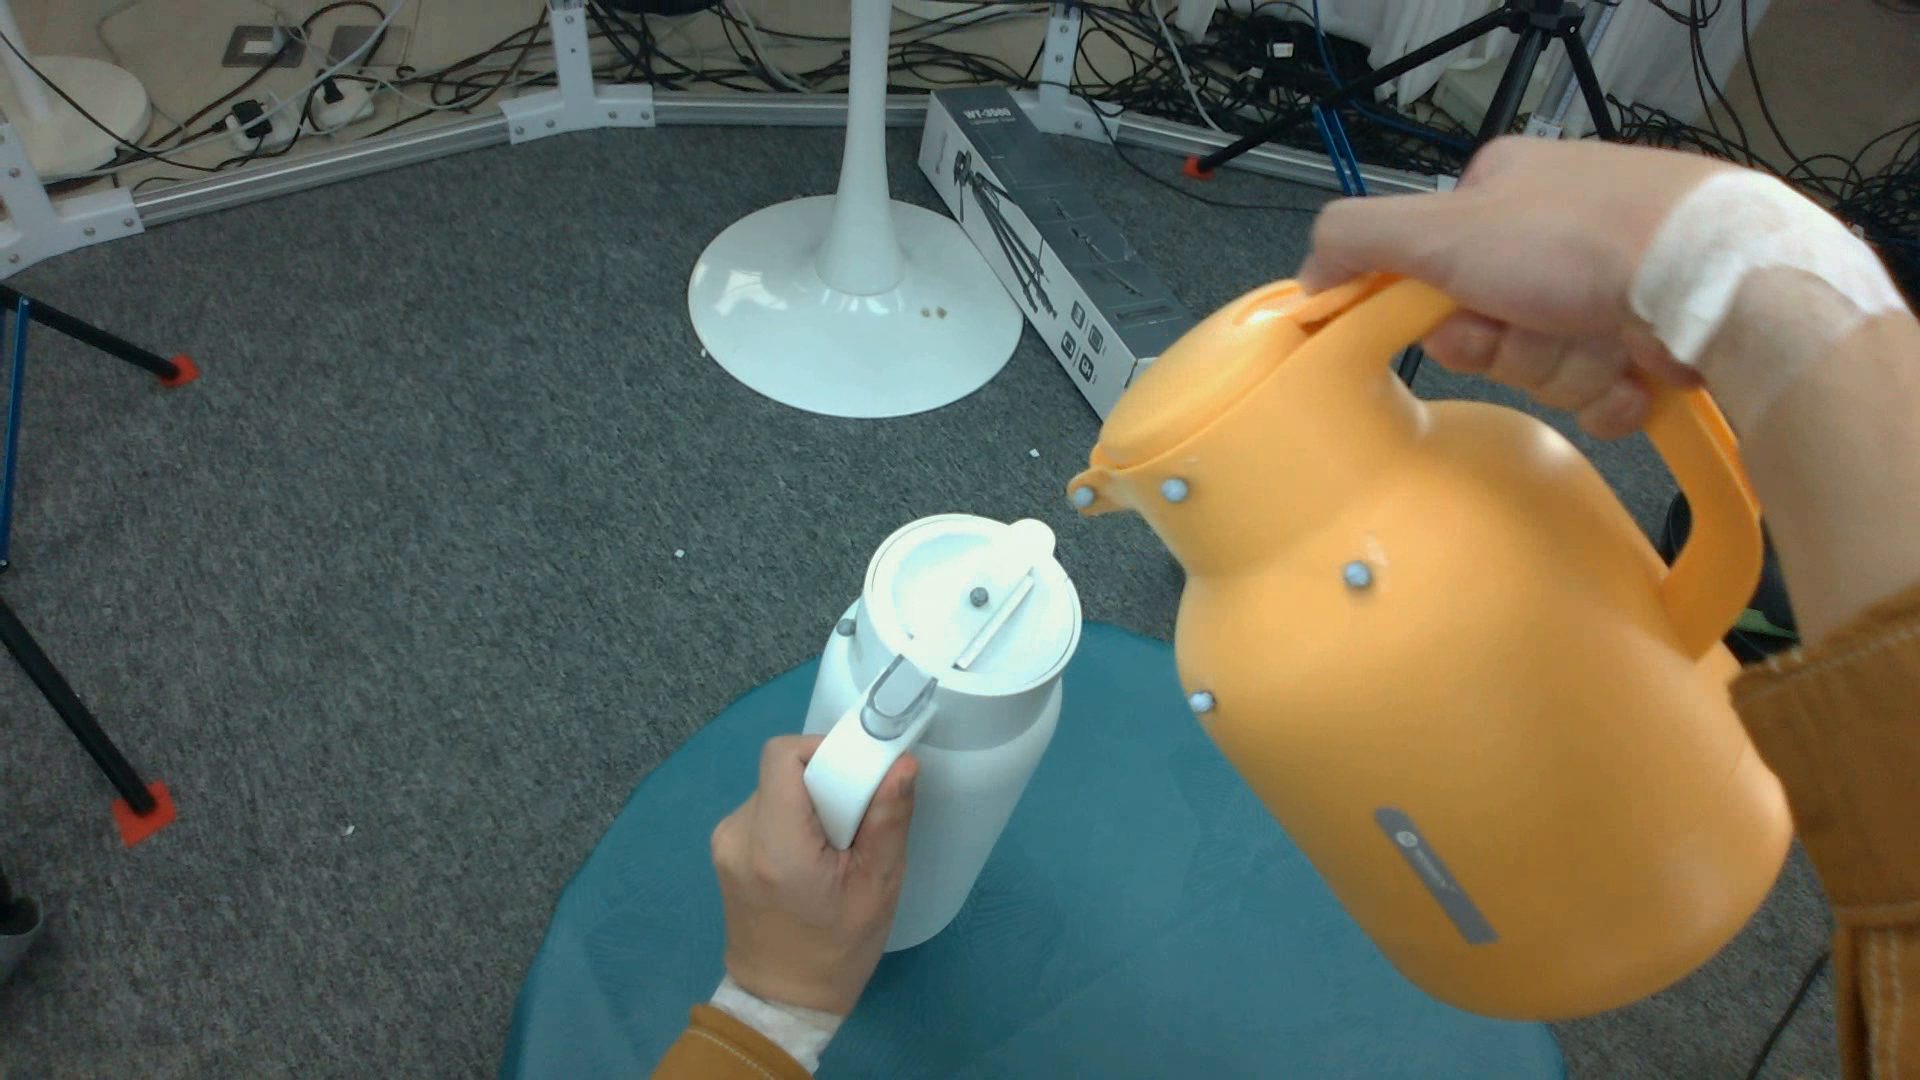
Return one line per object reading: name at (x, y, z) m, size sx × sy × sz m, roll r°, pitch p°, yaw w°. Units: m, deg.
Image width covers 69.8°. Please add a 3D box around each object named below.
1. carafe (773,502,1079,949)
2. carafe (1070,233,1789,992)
carafe at (-0.031, 0.115, 0.692) m, size 0.124 × 0.267 × 0.174 m, roll 33°, pitch 51°, yaw 9°
carafe at (0.174, 0.020, 0.483) m, size 0.260 × 0.201 × 0.164 m, roll 48°, pitch 43°, yaw -13°
